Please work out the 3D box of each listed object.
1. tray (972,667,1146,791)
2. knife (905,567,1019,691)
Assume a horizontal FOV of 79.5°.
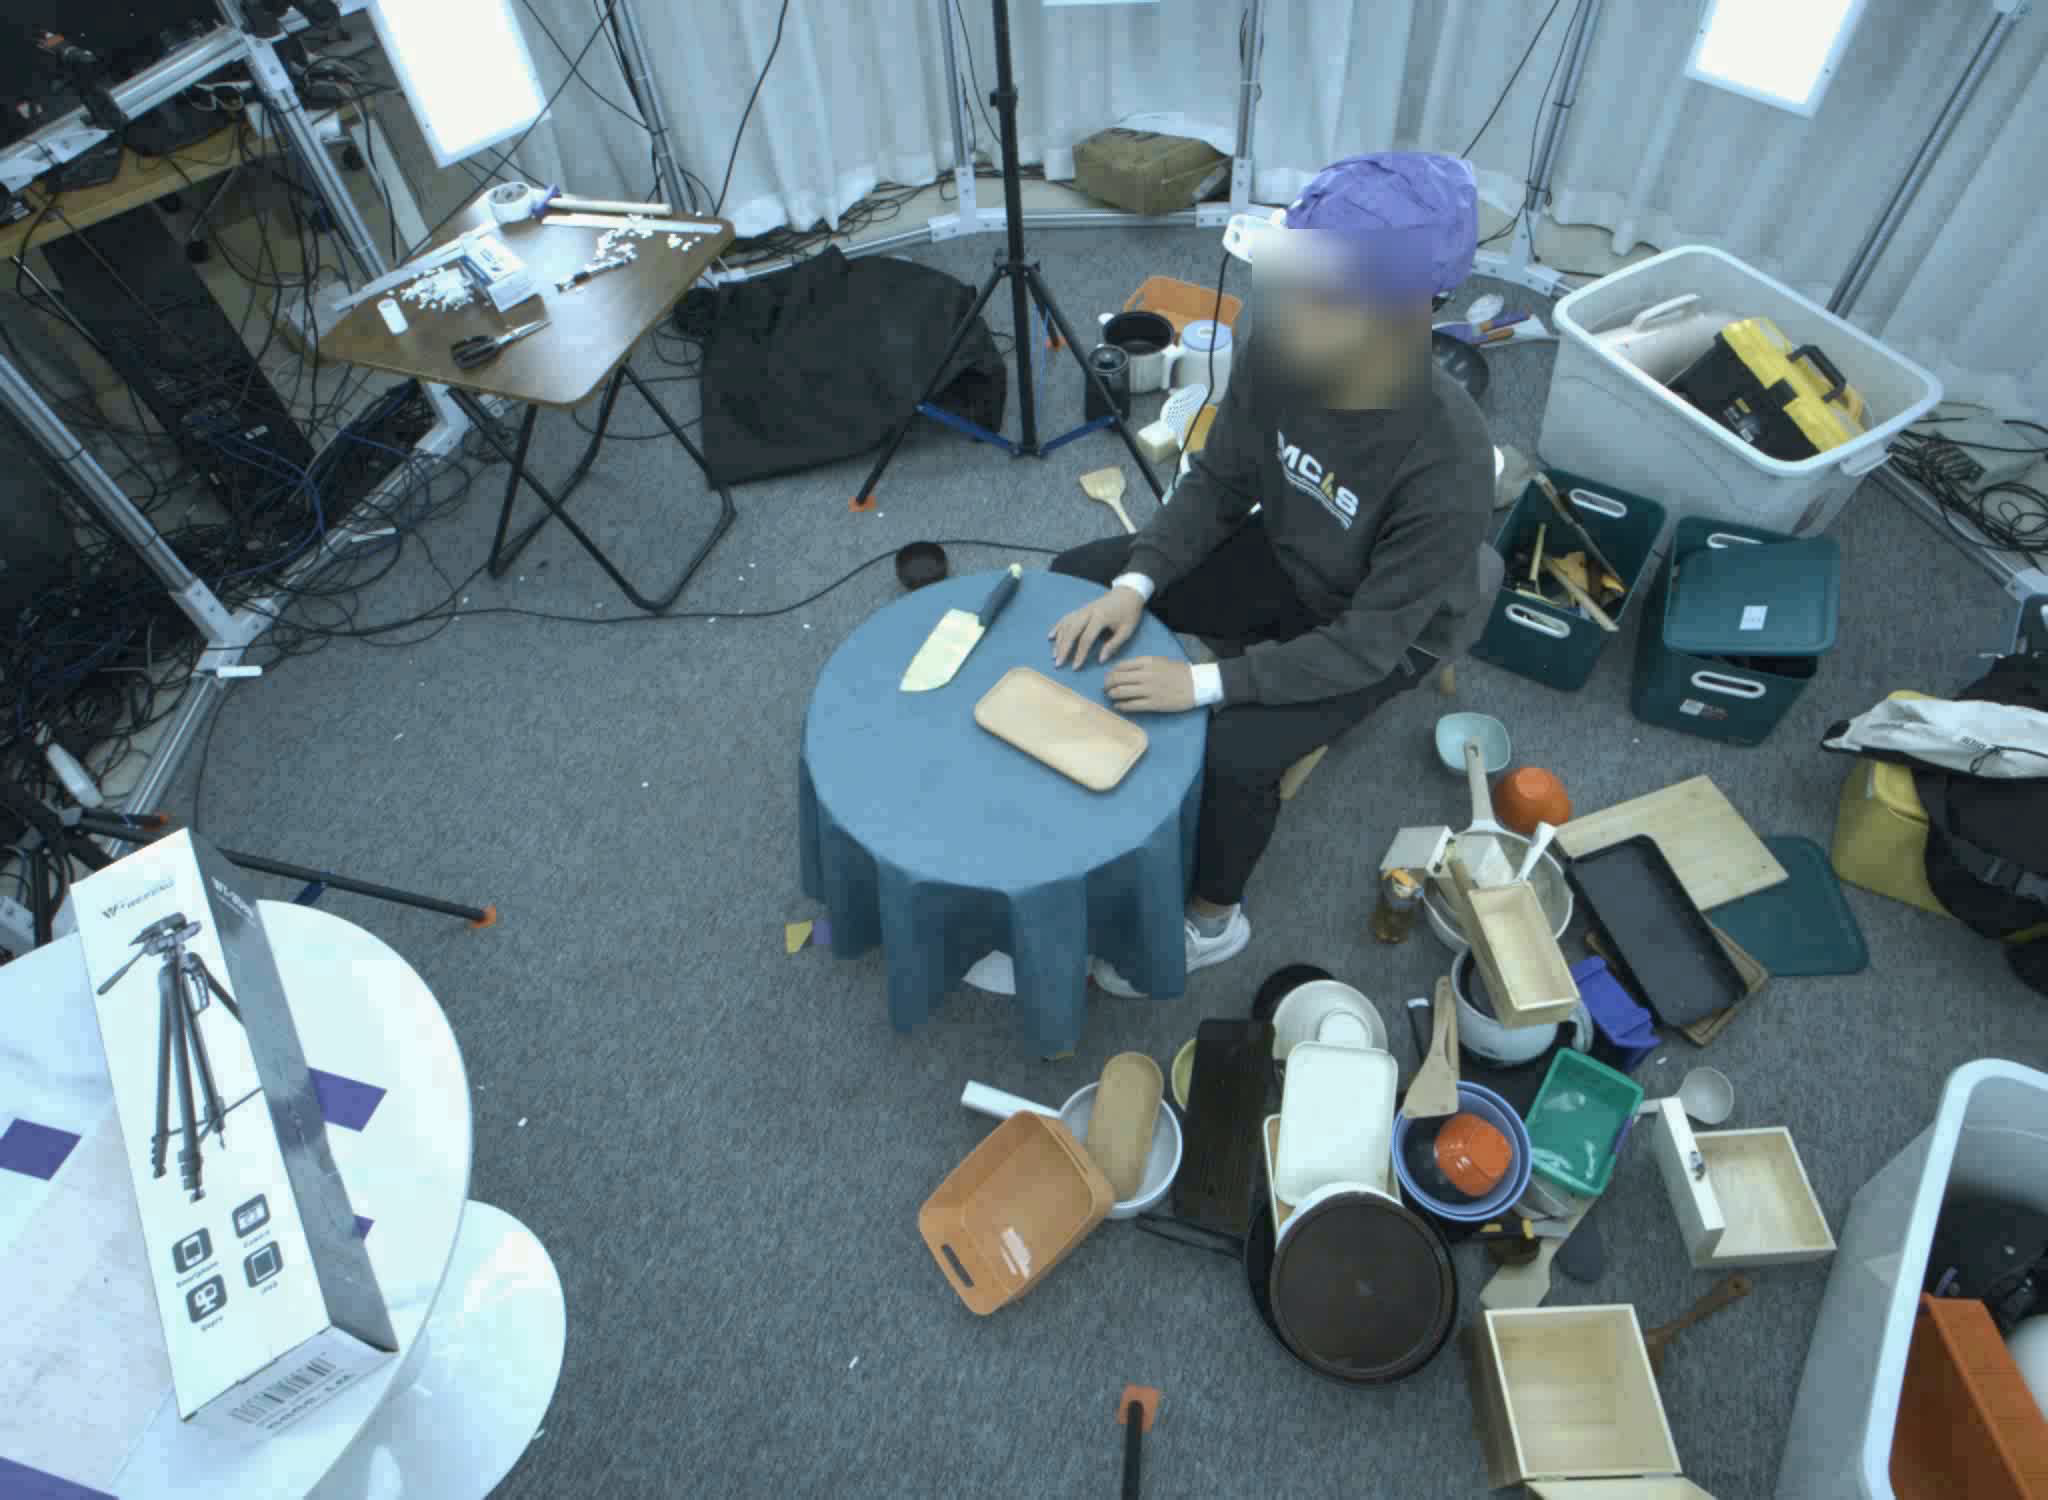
[{"bbox_3d":[0.050,-0.032,1.807,0.247,0.023,0.131,30,58,21],"label":"tray"},{"bbox_3d":[-0.096,-0.194,1.927,0.080,0.027,0.290,26,60,17],"label":"knife"}]
